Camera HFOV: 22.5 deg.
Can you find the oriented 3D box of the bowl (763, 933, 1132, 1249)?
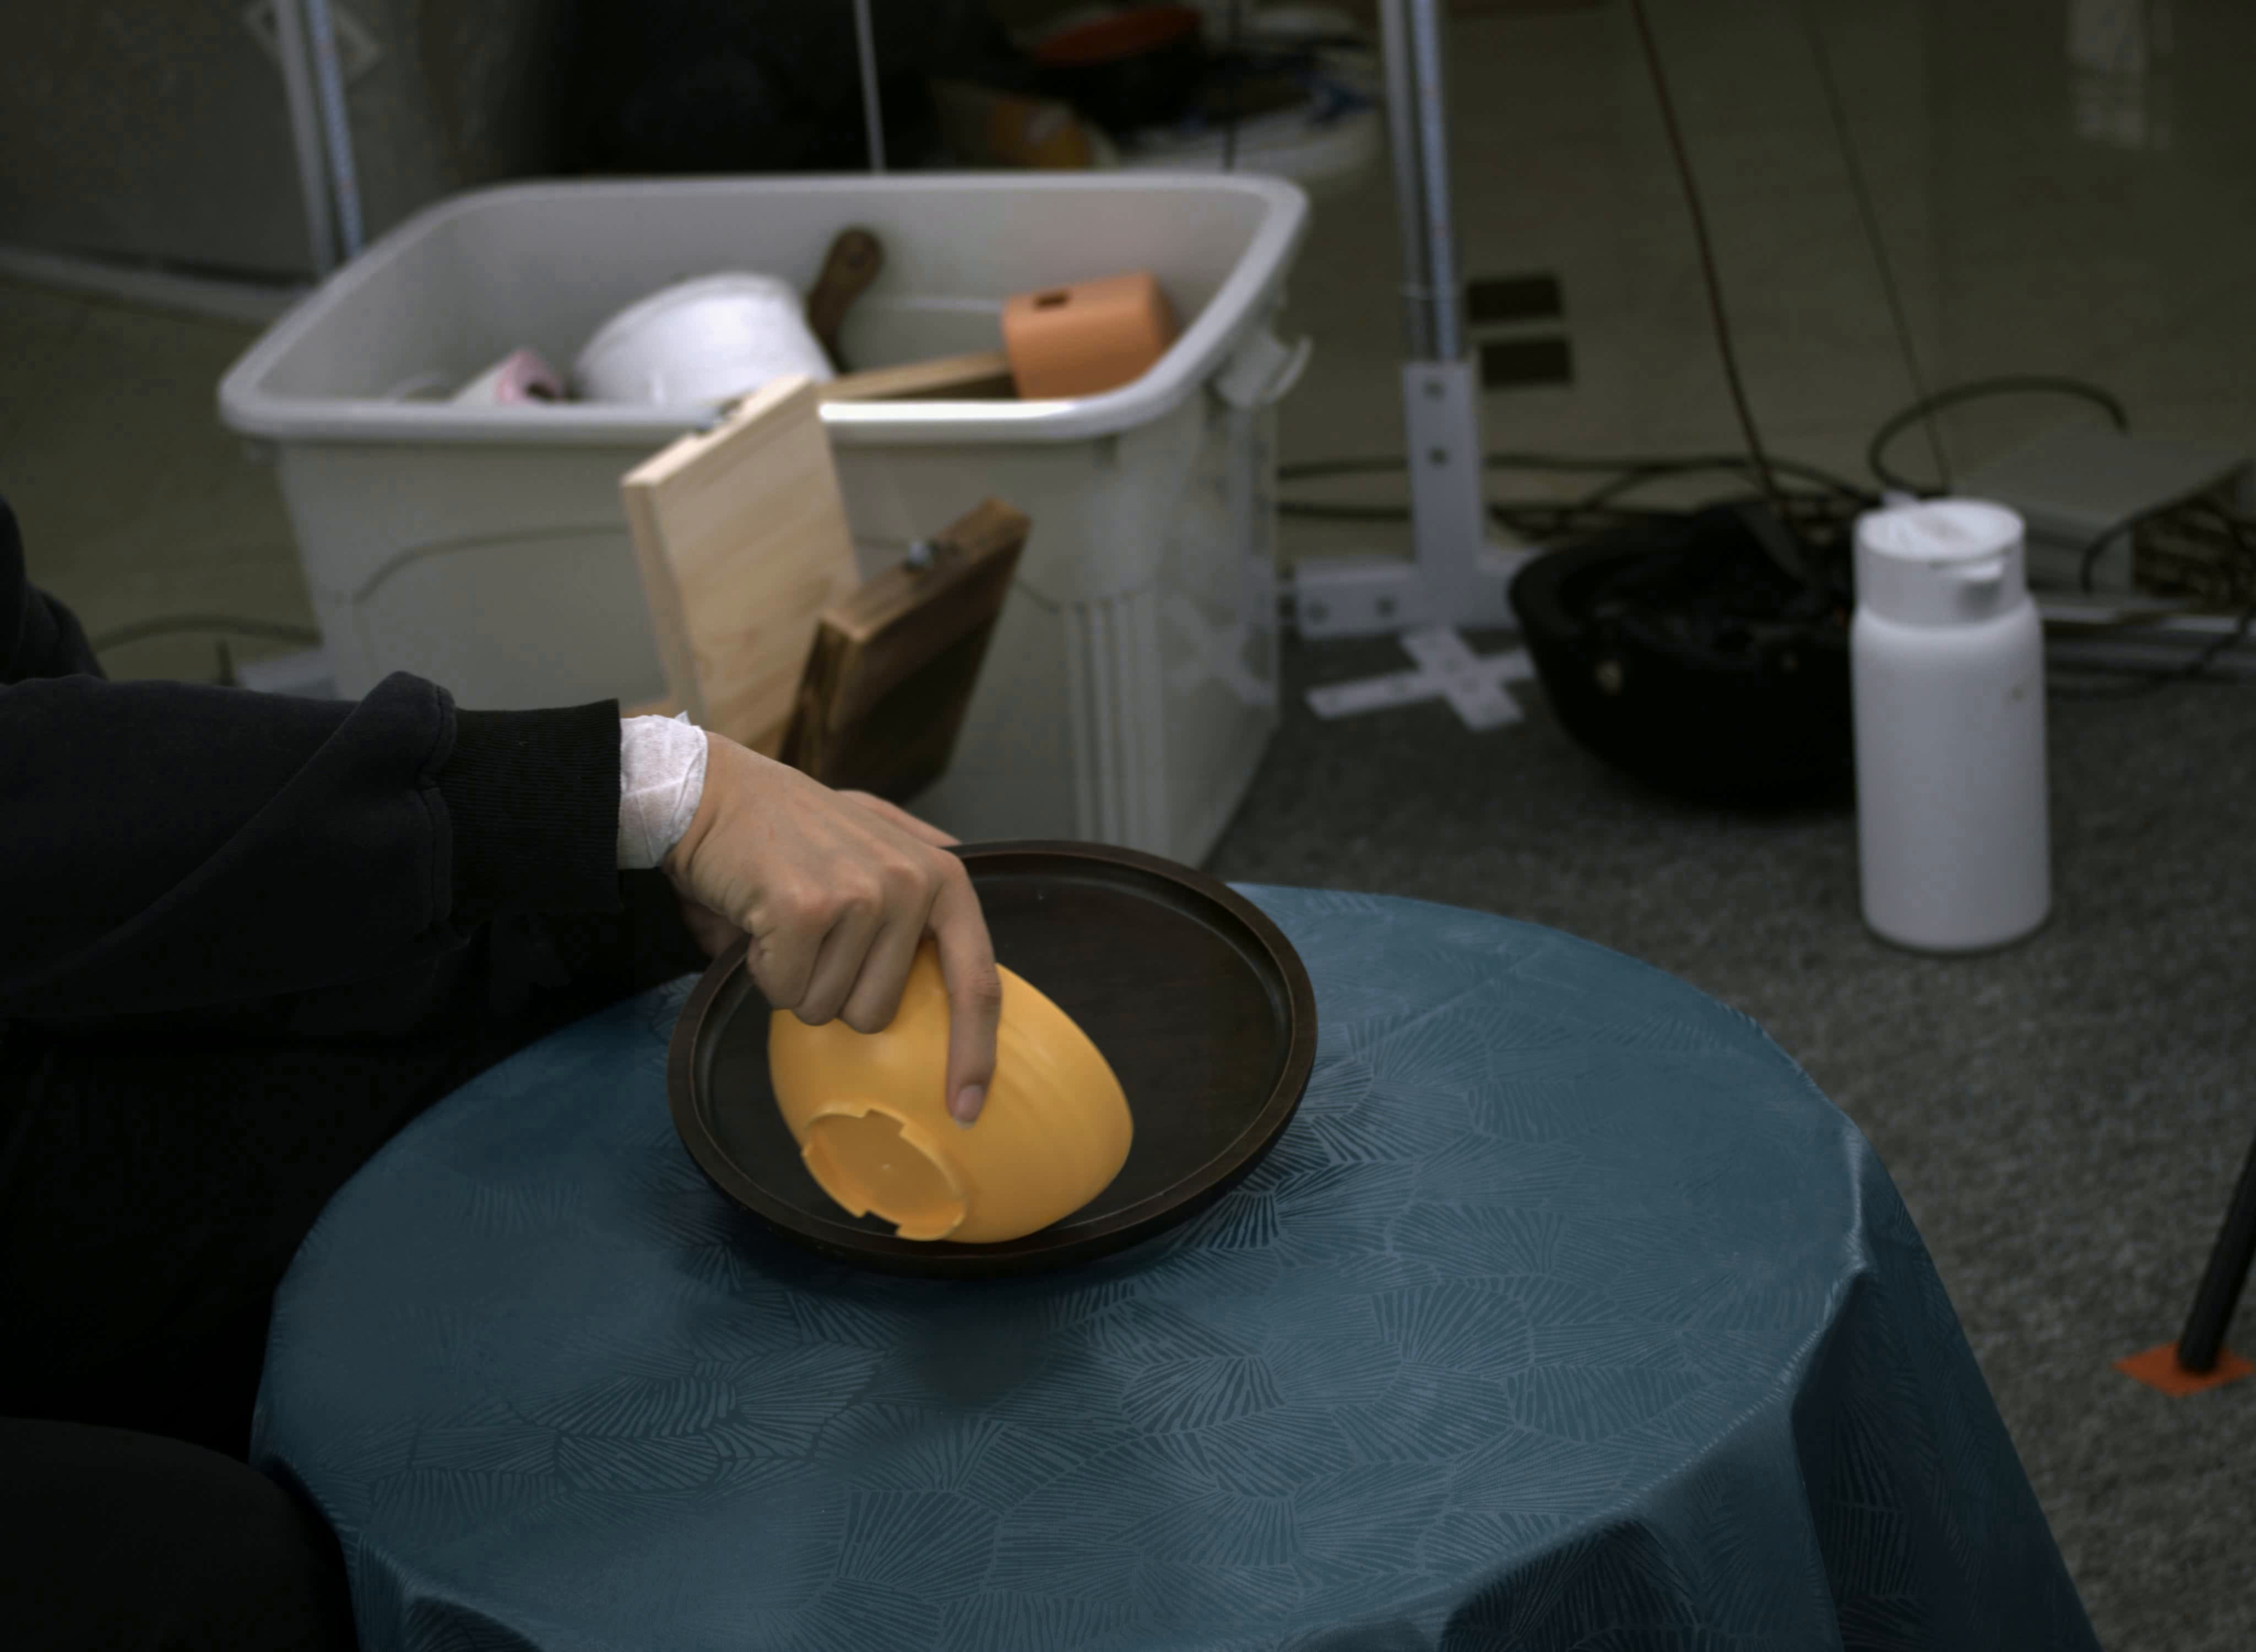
[{"bbox_3d":[-0.076,0.109,2.043,0.144,0.148,0.059,9,51,29],"label":"bowl"}]

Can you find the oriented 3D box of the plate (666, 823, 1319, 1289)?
[{"bbox_3d":[-0.052,0.090,2.185,0.254,0.029,0.250,-4,40,4],"label":"plate"}]
